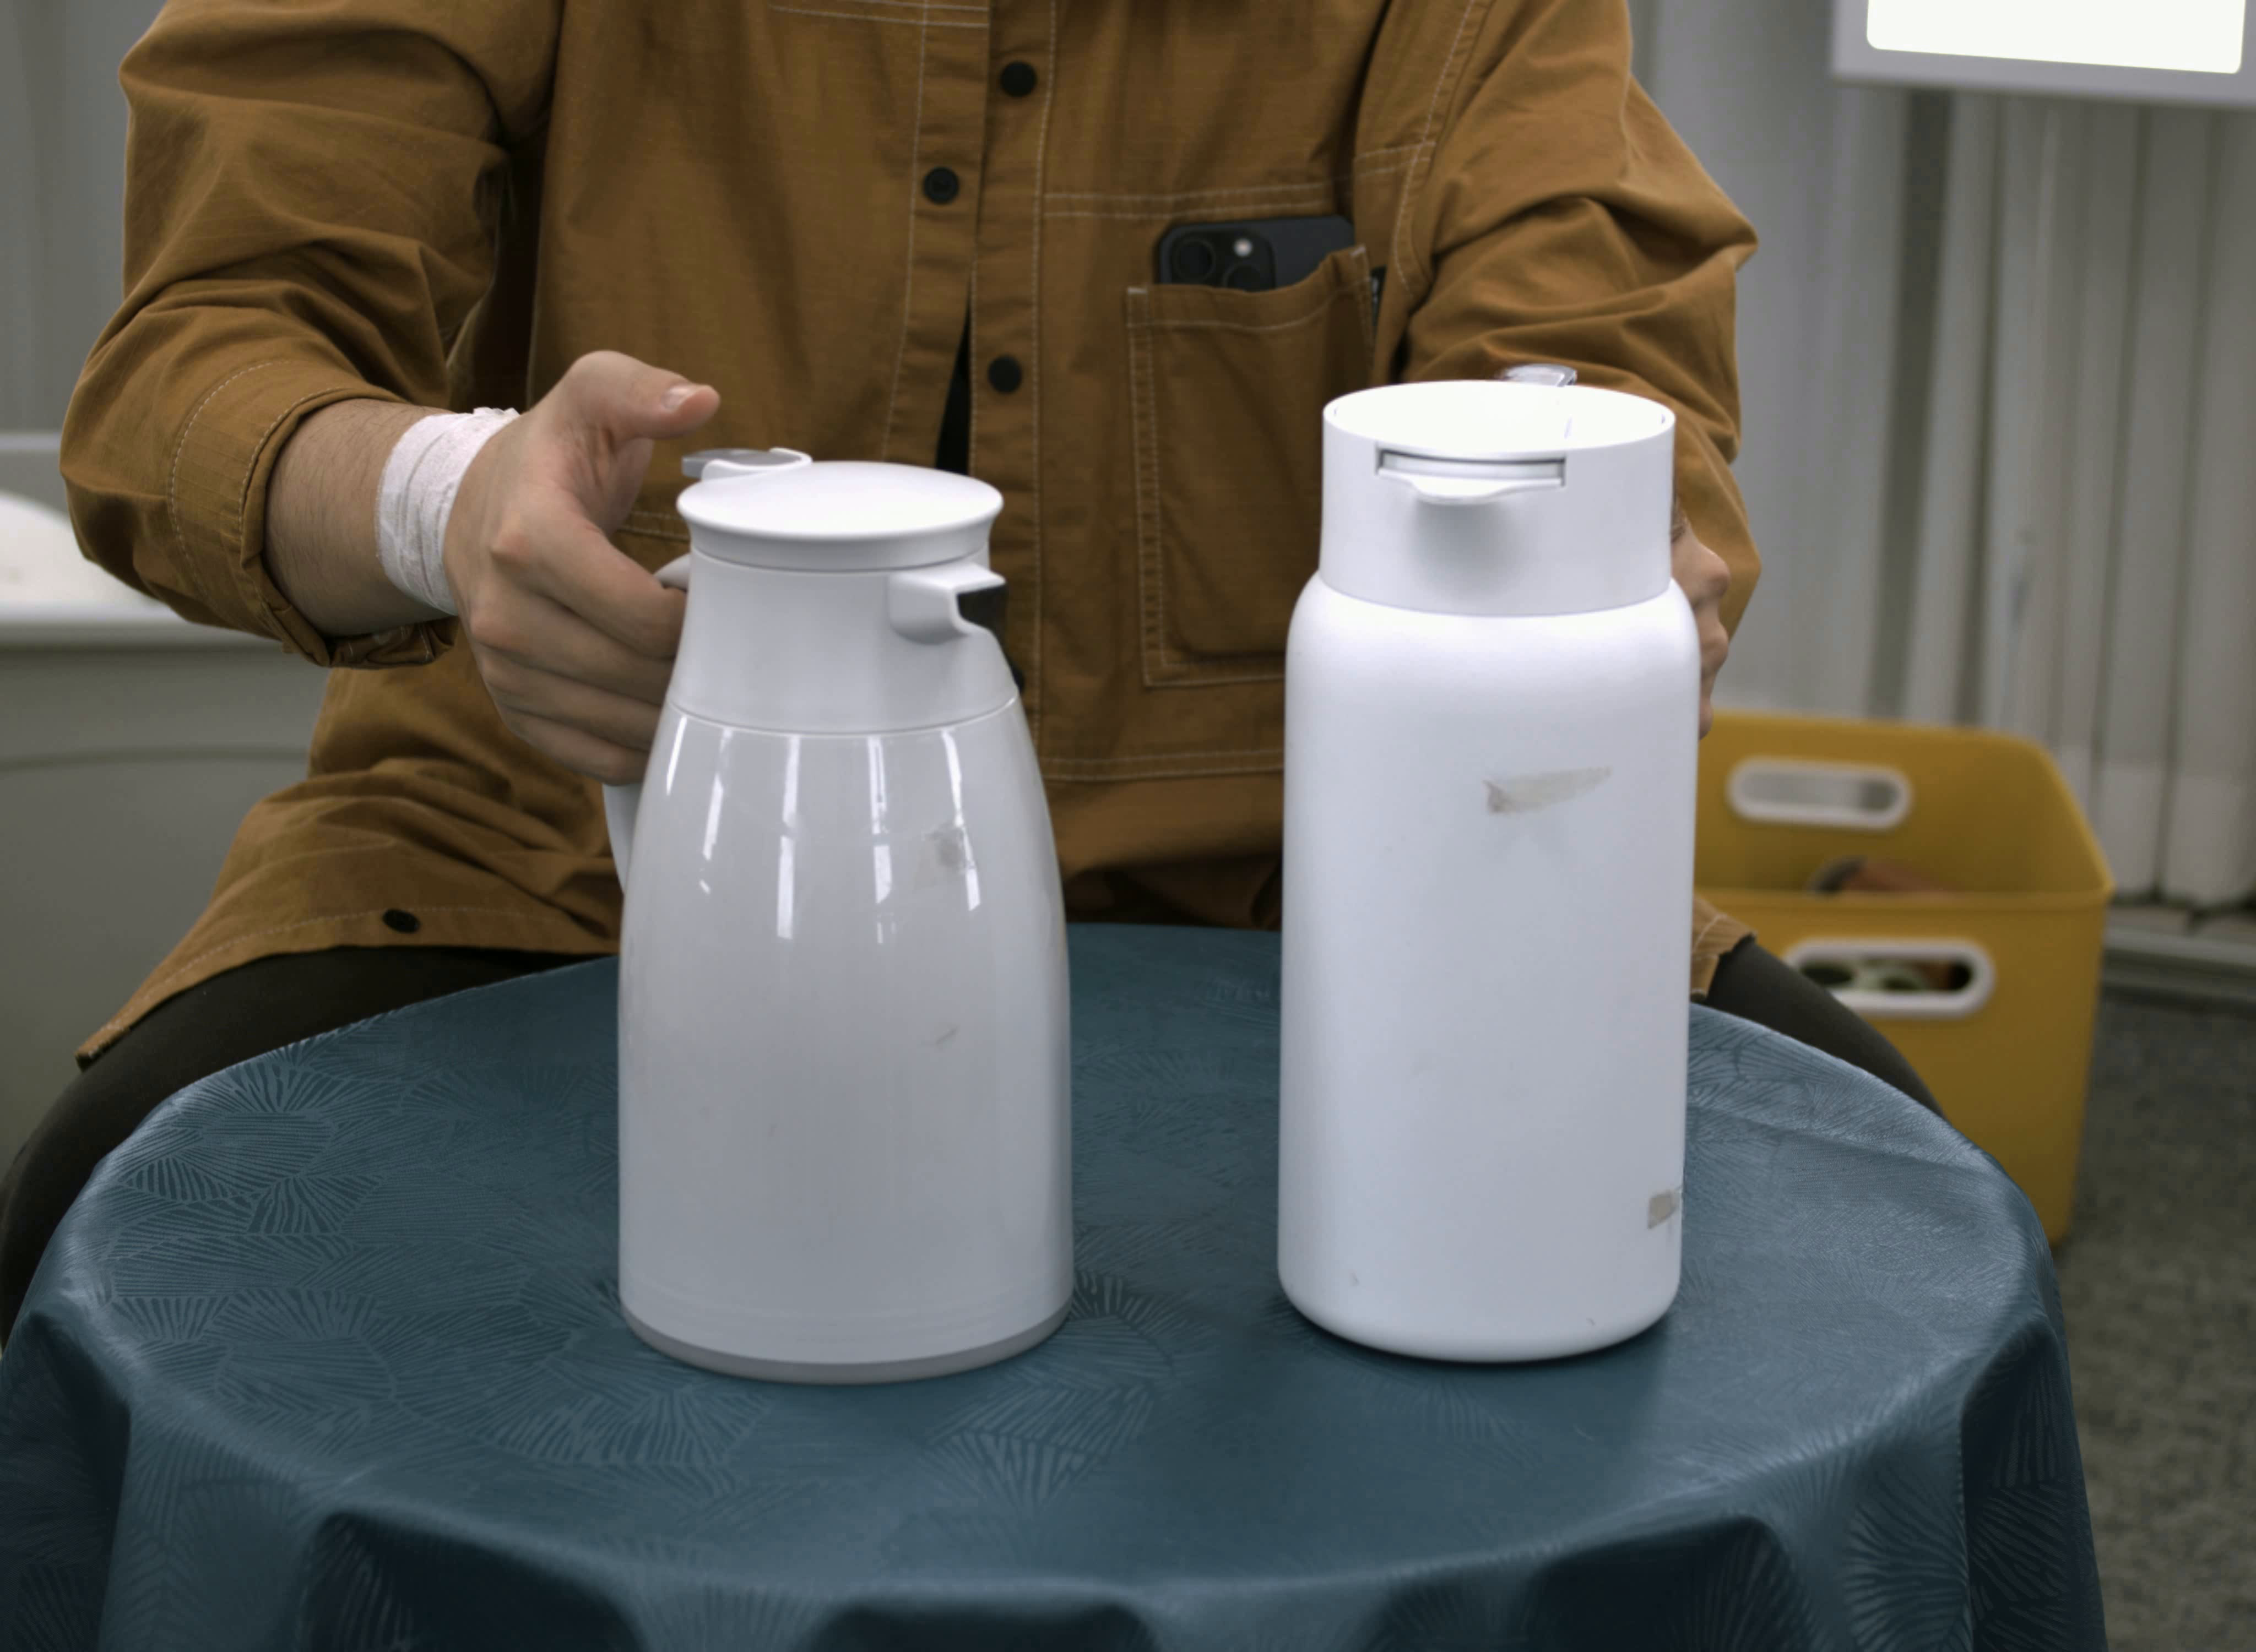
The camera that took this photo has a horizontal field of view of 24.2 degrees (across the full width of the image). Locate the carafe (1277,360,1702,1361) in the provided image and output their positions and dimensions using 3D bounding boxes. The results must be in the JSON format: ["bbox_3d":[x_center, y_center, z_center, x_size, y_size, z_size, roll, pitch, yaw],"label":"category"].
[{"bbox_3d":[0.105,0.005,1.510,0.123,0.271,0.172,2,16,13],"label":"carafe"}]

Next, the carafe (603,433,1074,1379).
[{"bbox_3d":[-0.094,0.014,1.503,0.133,0.250,0.165,-13,20,-39],"label":"carafe"}]
